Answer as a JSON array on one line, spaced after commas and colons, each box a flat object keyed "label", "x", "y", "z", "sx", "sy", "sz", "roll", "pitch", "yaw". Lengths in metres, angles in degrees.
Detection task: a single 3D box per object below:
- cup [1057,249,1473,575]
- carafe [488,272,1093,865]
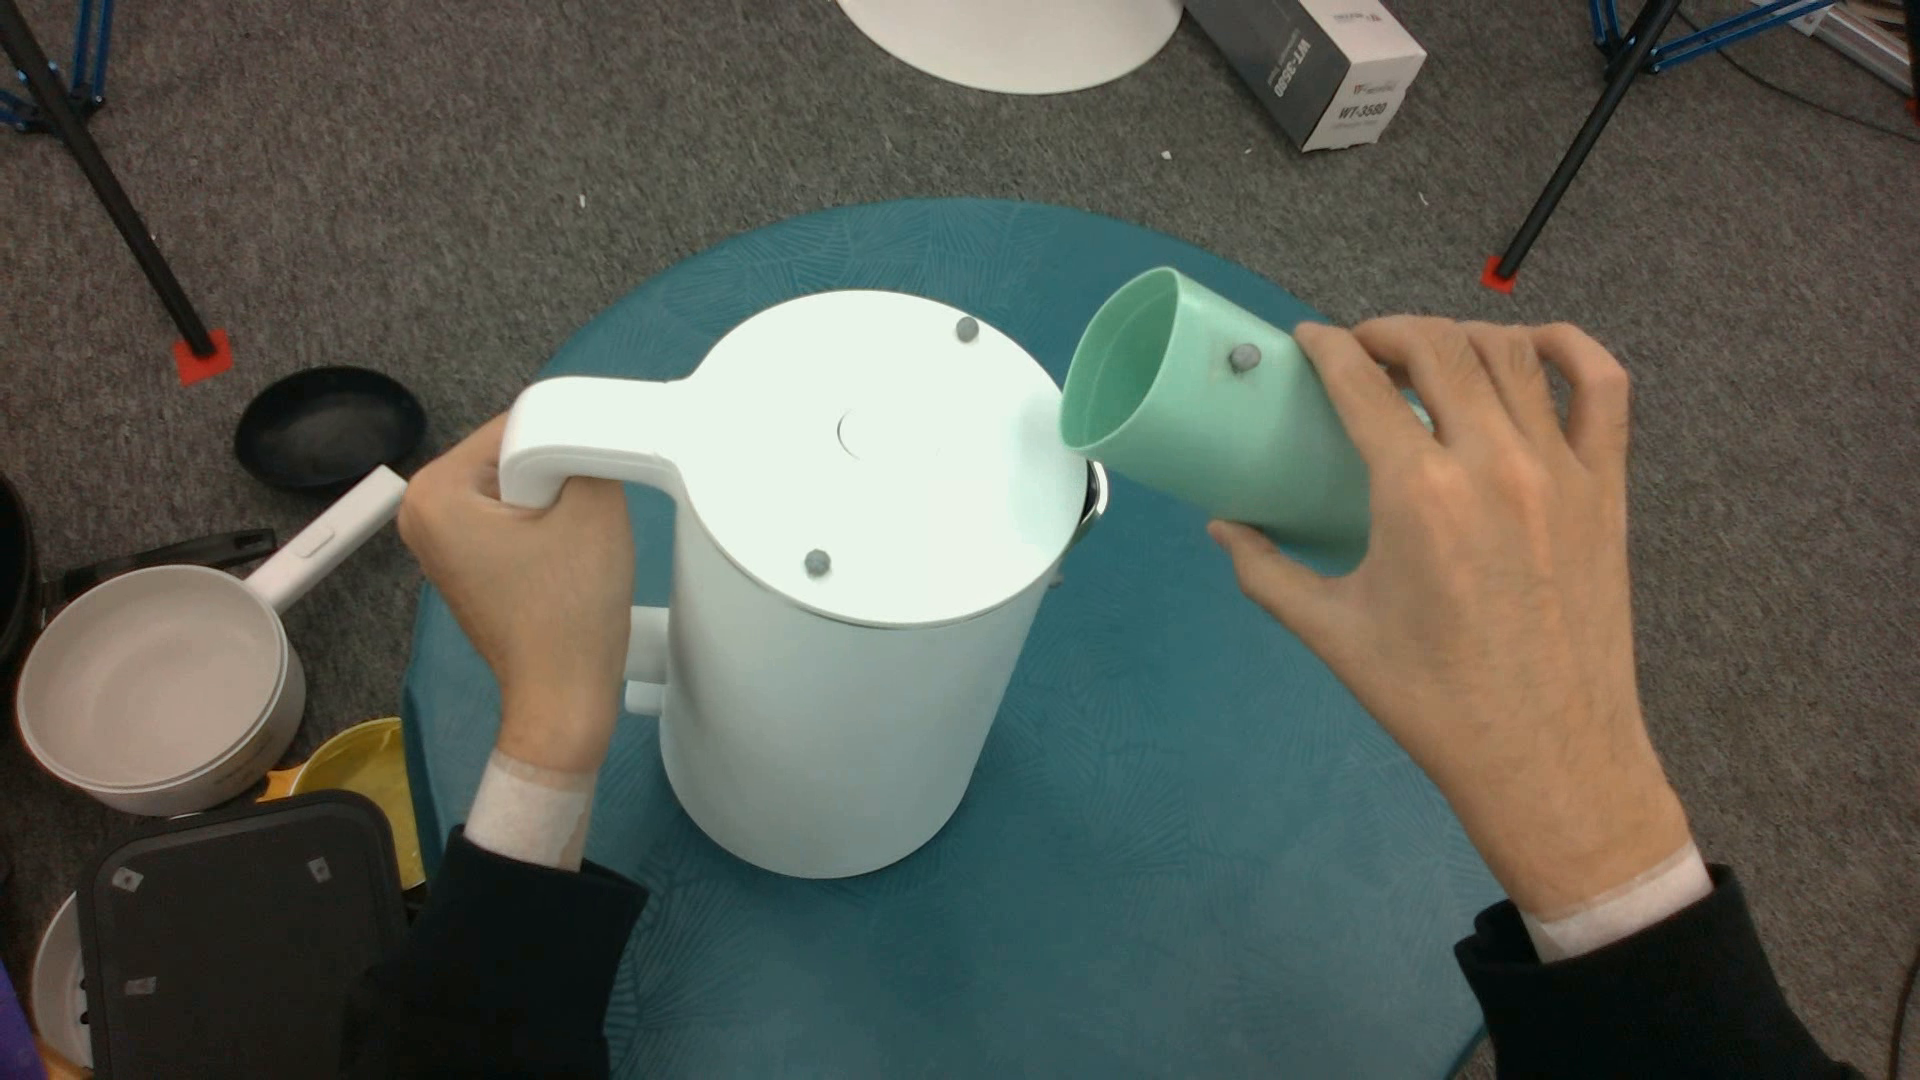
[{"label": "cup", "x": 0.104, "y": -0.039, "z": 0.467, "sx": 0.132, "sy": 0.066, "sz": 0.067, "roll": 24, "pitch": 55, "yaw": -24}, {"label": "carafe", "x": -0.077, "y": 0.017, "z": 0.565, "sx": 0.213, "sy": 0.239, "sz": 0.153, "roll": 7, "pitch": 55, "yaw": -10}]
